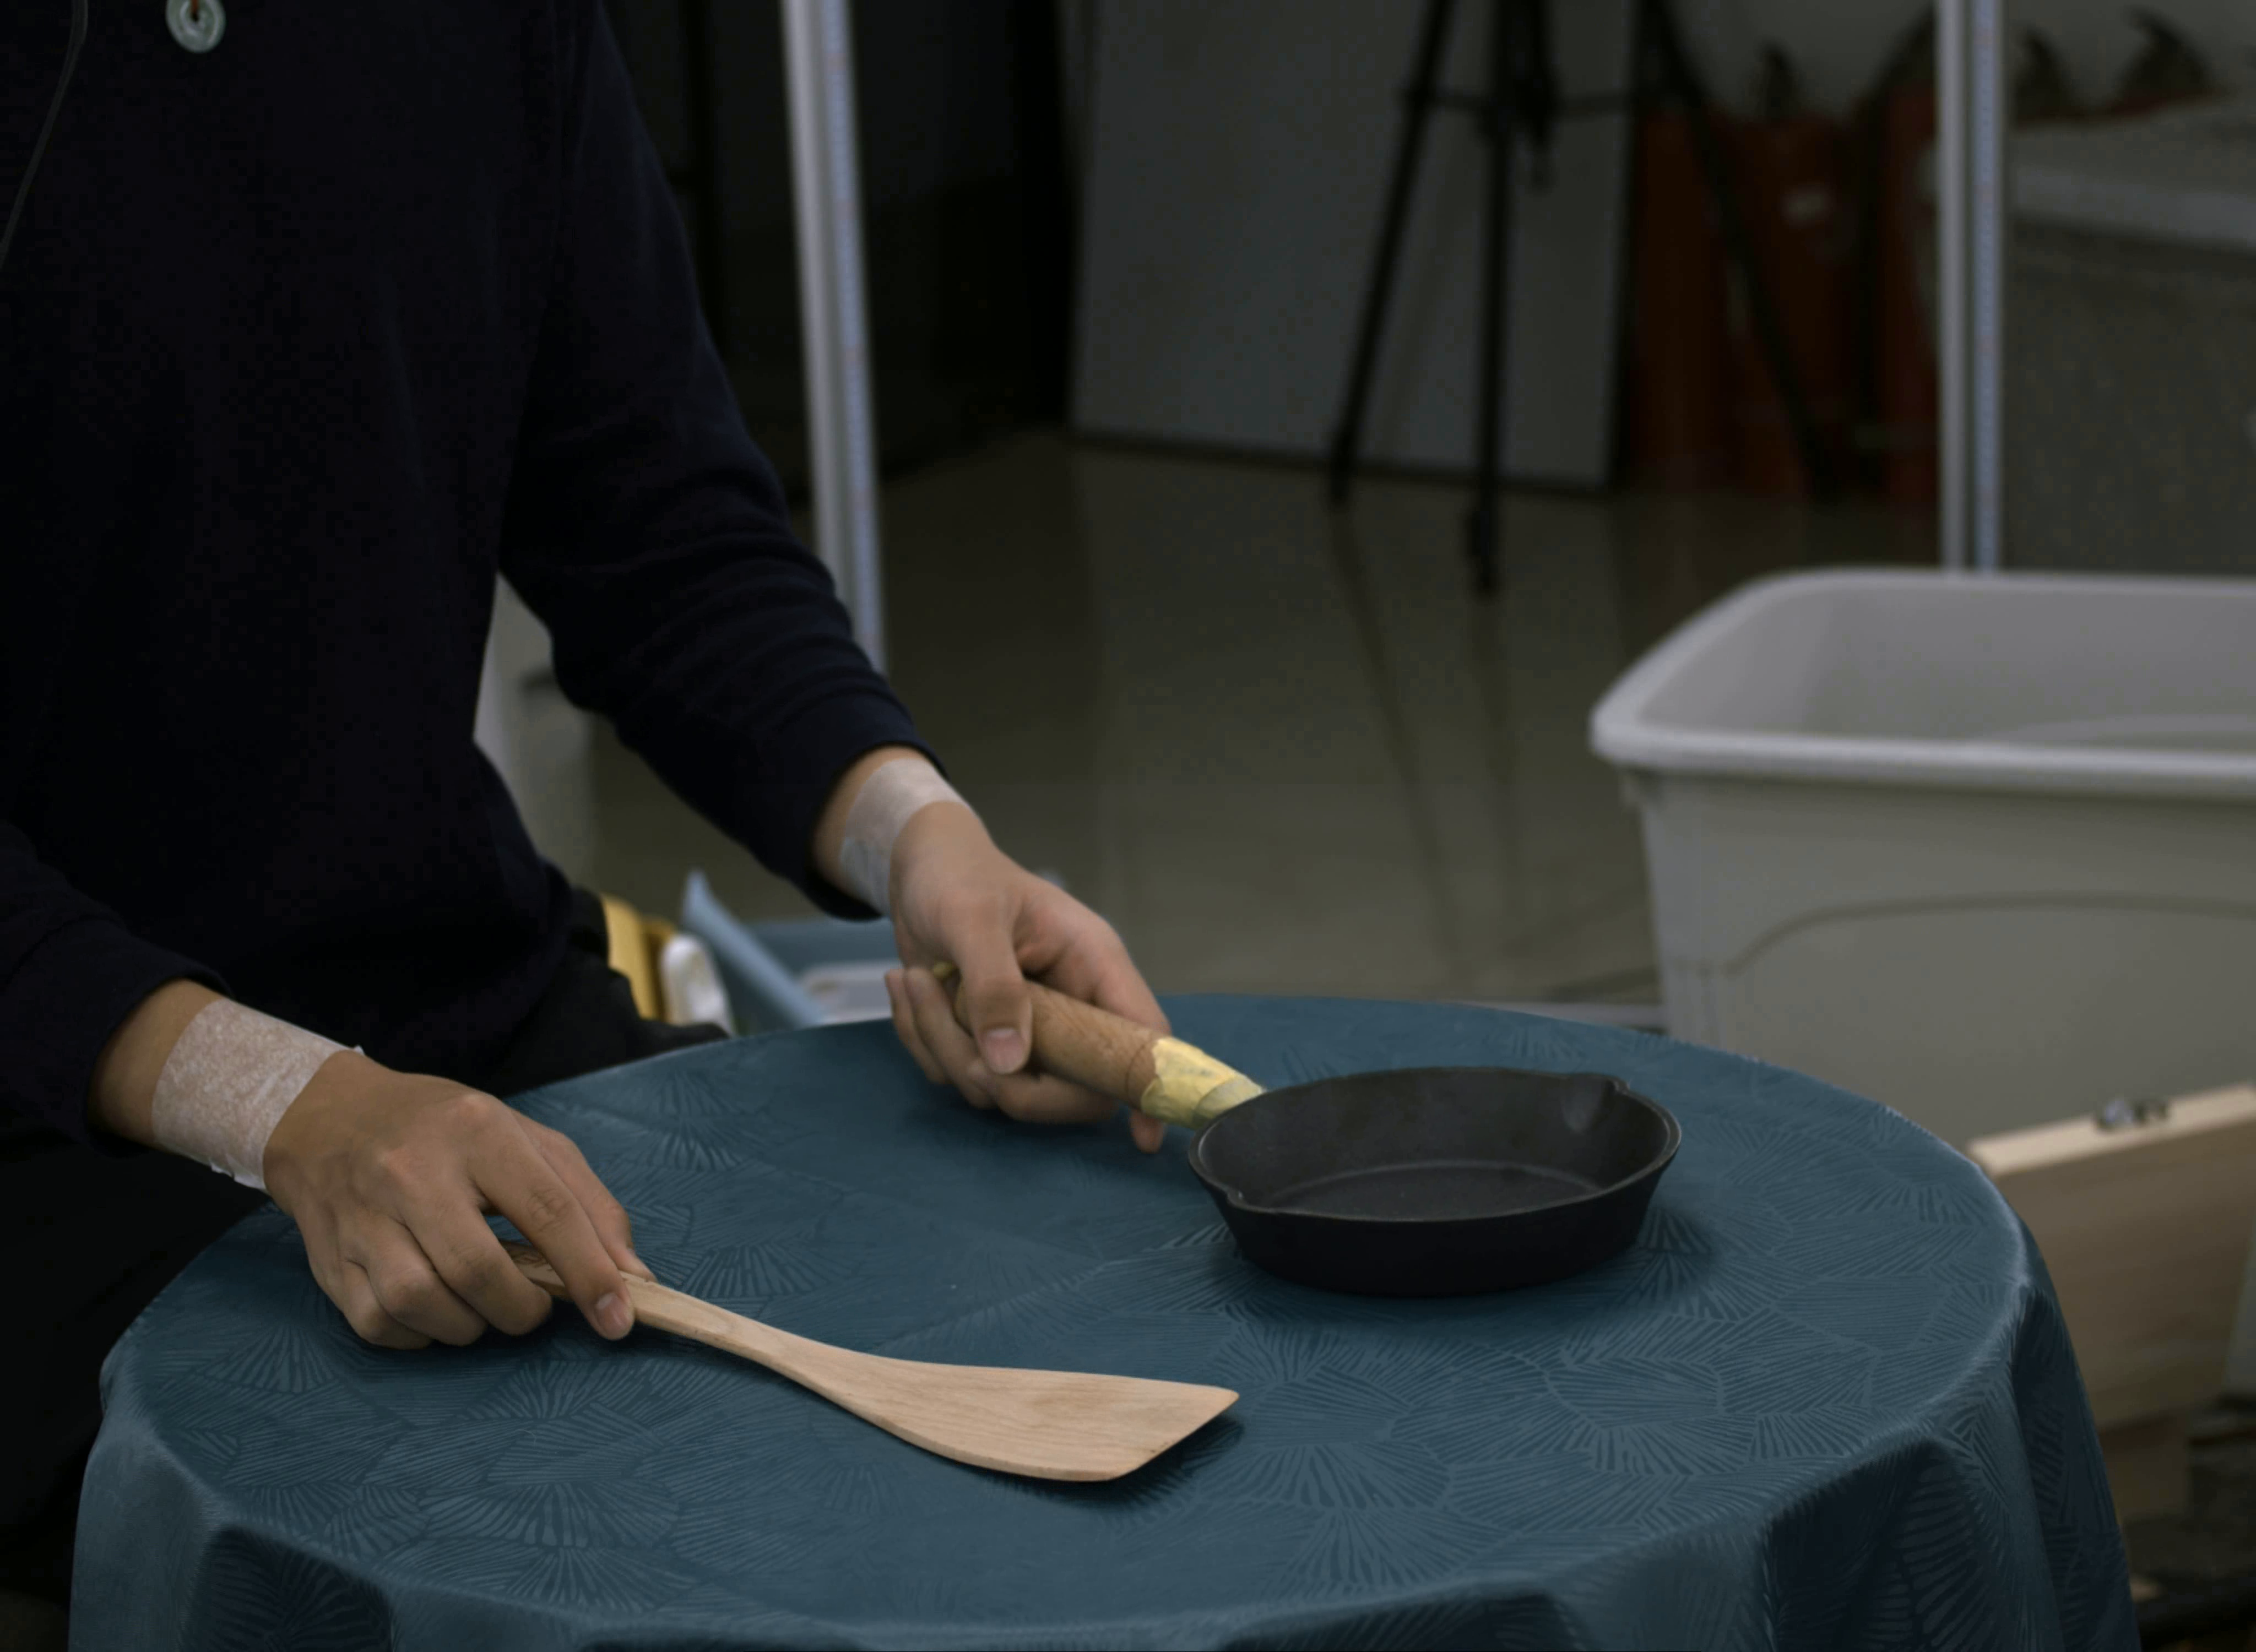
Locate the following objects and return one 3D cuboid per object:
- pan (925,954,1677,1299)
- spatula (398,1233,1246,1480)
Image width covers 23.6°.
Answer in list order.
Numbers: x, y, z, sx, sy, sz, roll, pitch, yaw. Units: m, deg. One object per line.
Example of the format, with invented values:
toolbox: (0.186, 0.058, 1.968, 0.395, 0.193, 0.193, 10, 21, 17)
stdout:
pan: (0.042, 0.093, 1.765, 0.165, 0.050, 0.327, -15, 19, -38)
spatula: (-0.102, 0.154, 1.624, 0.330, 0.017, 0.078, 11, 19, 39)
